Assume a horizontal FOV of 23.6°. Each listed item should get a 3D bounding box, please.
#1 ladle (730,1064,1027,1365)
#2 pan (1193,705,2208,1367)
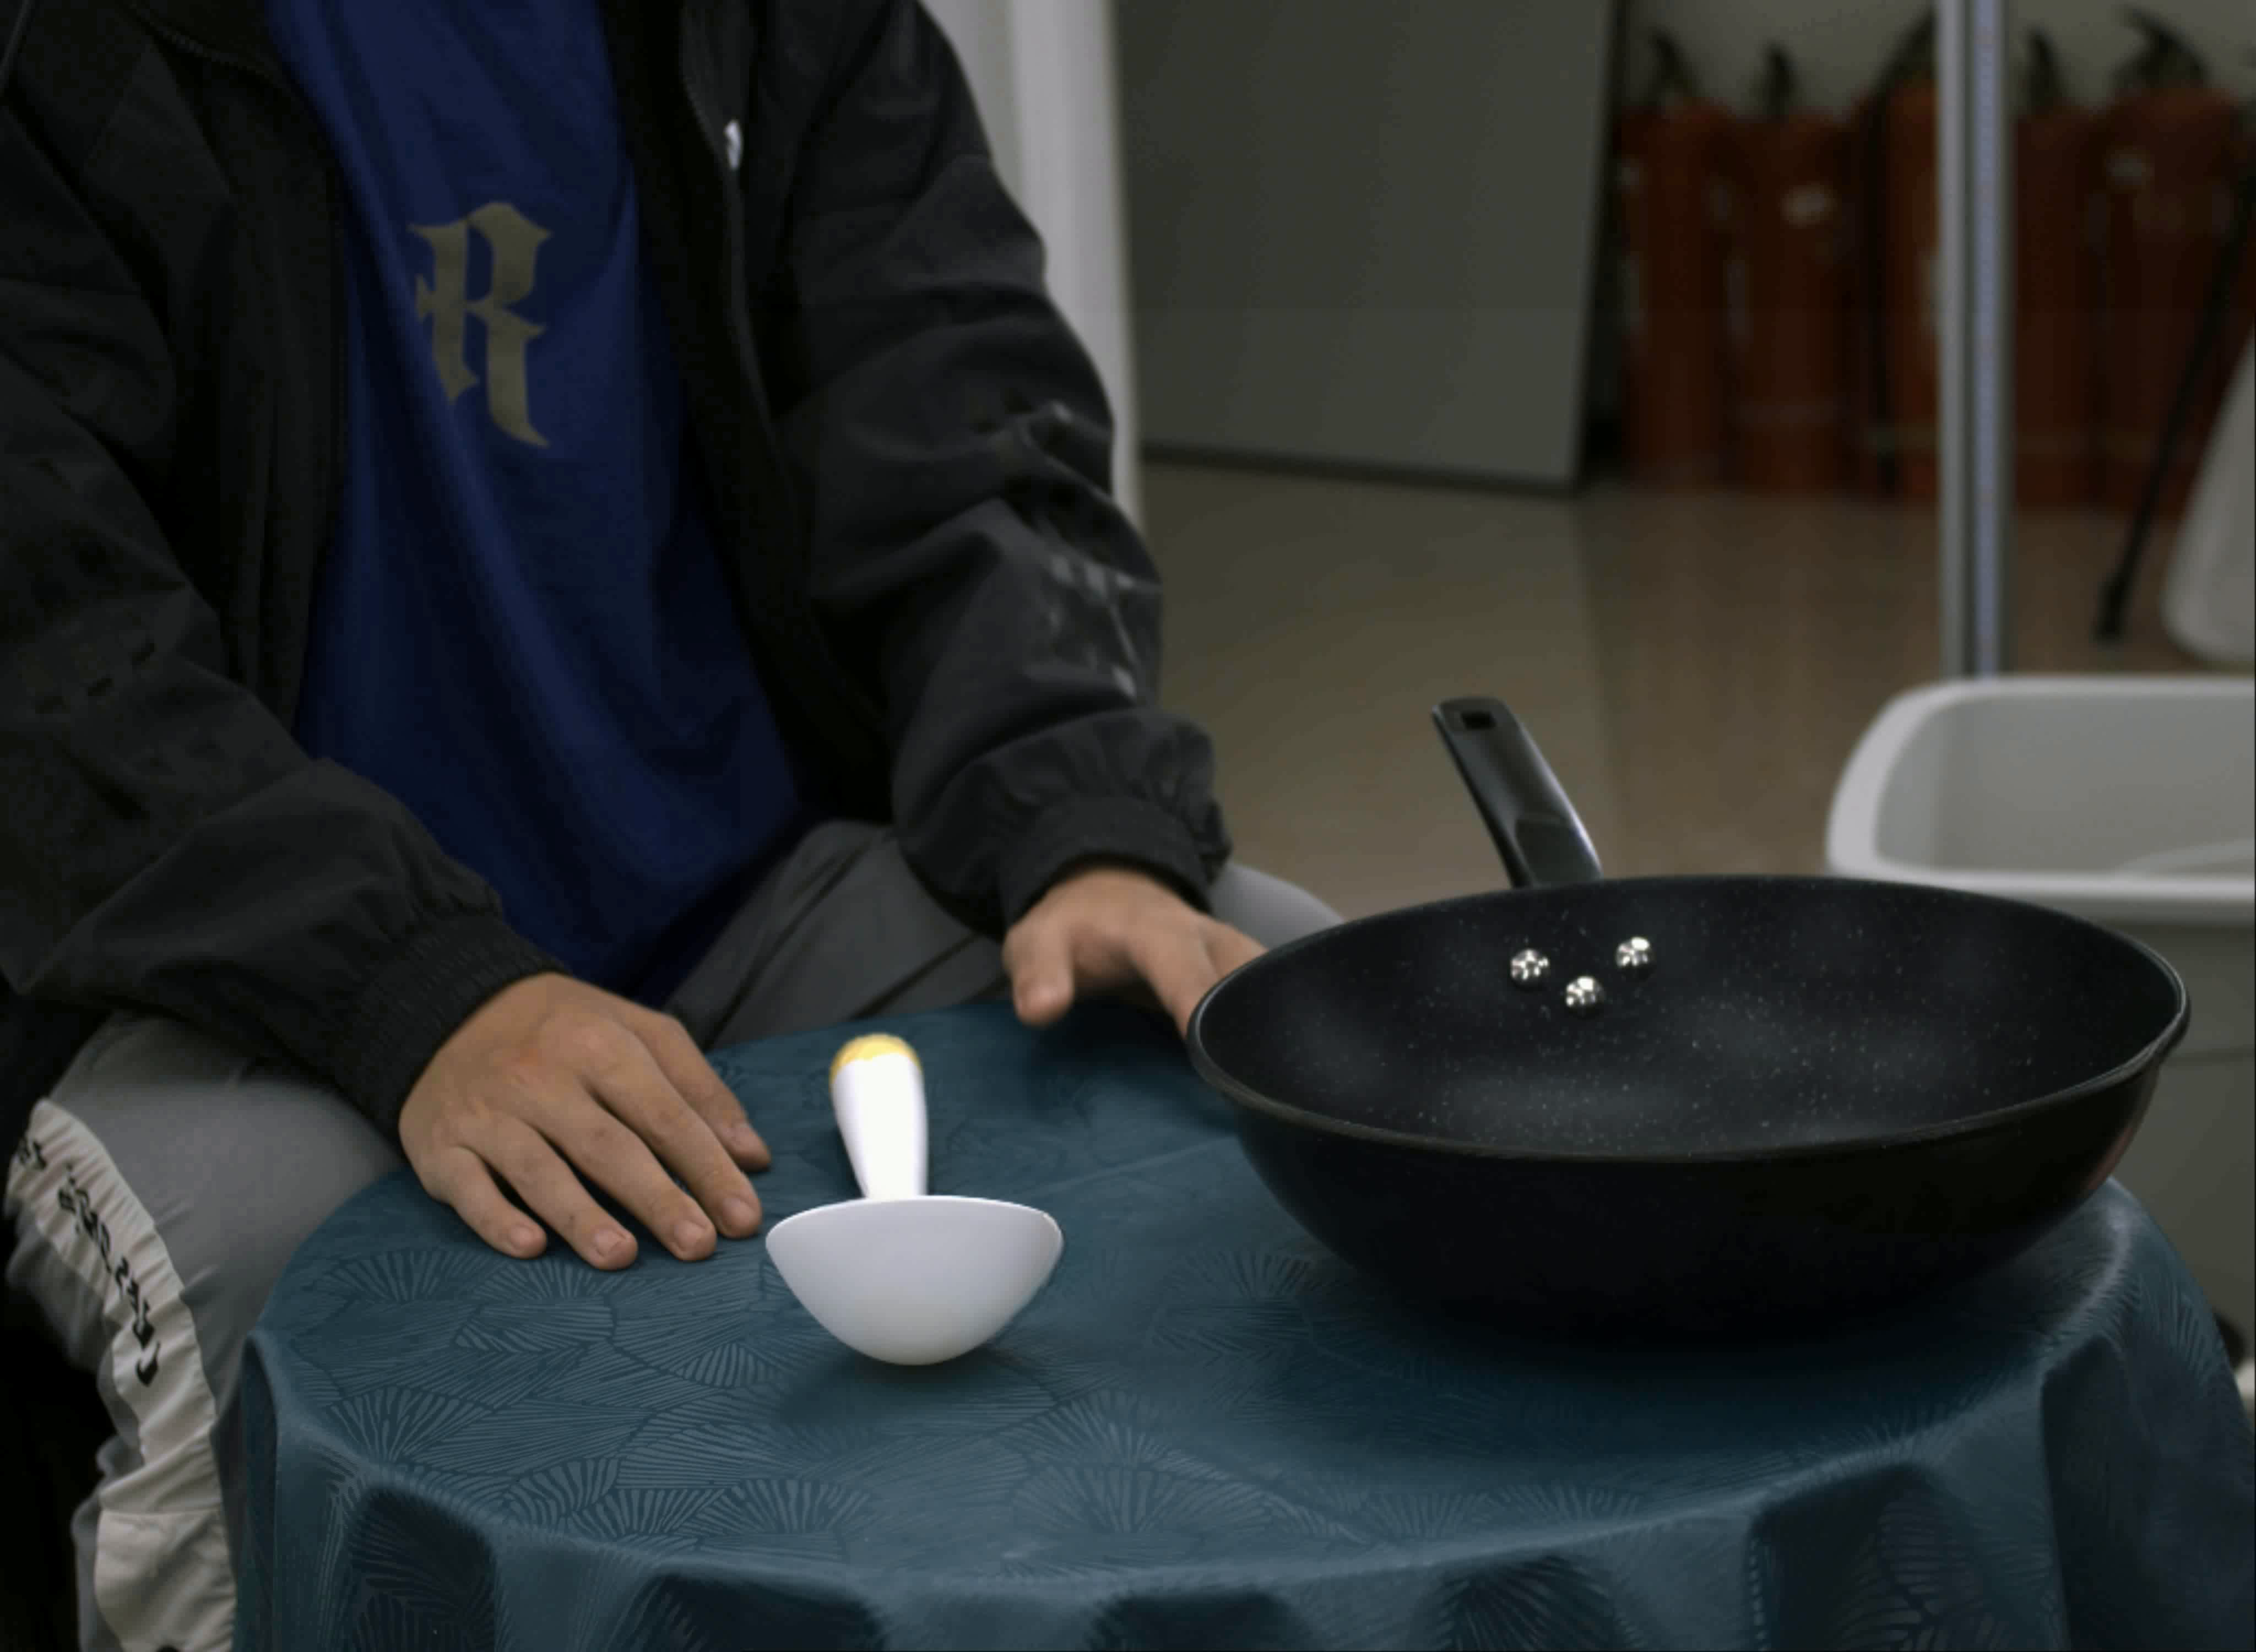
[{"bbox_3d":[-0.077,0.108,1.717,0.089,0.071,0.293,-7,12,-1],"label":"ladle"},{"bbox_3d":[0.161,0.067,1.726,0.305,0.113,0.479,-4,14,-8],"label":"pan"}]
